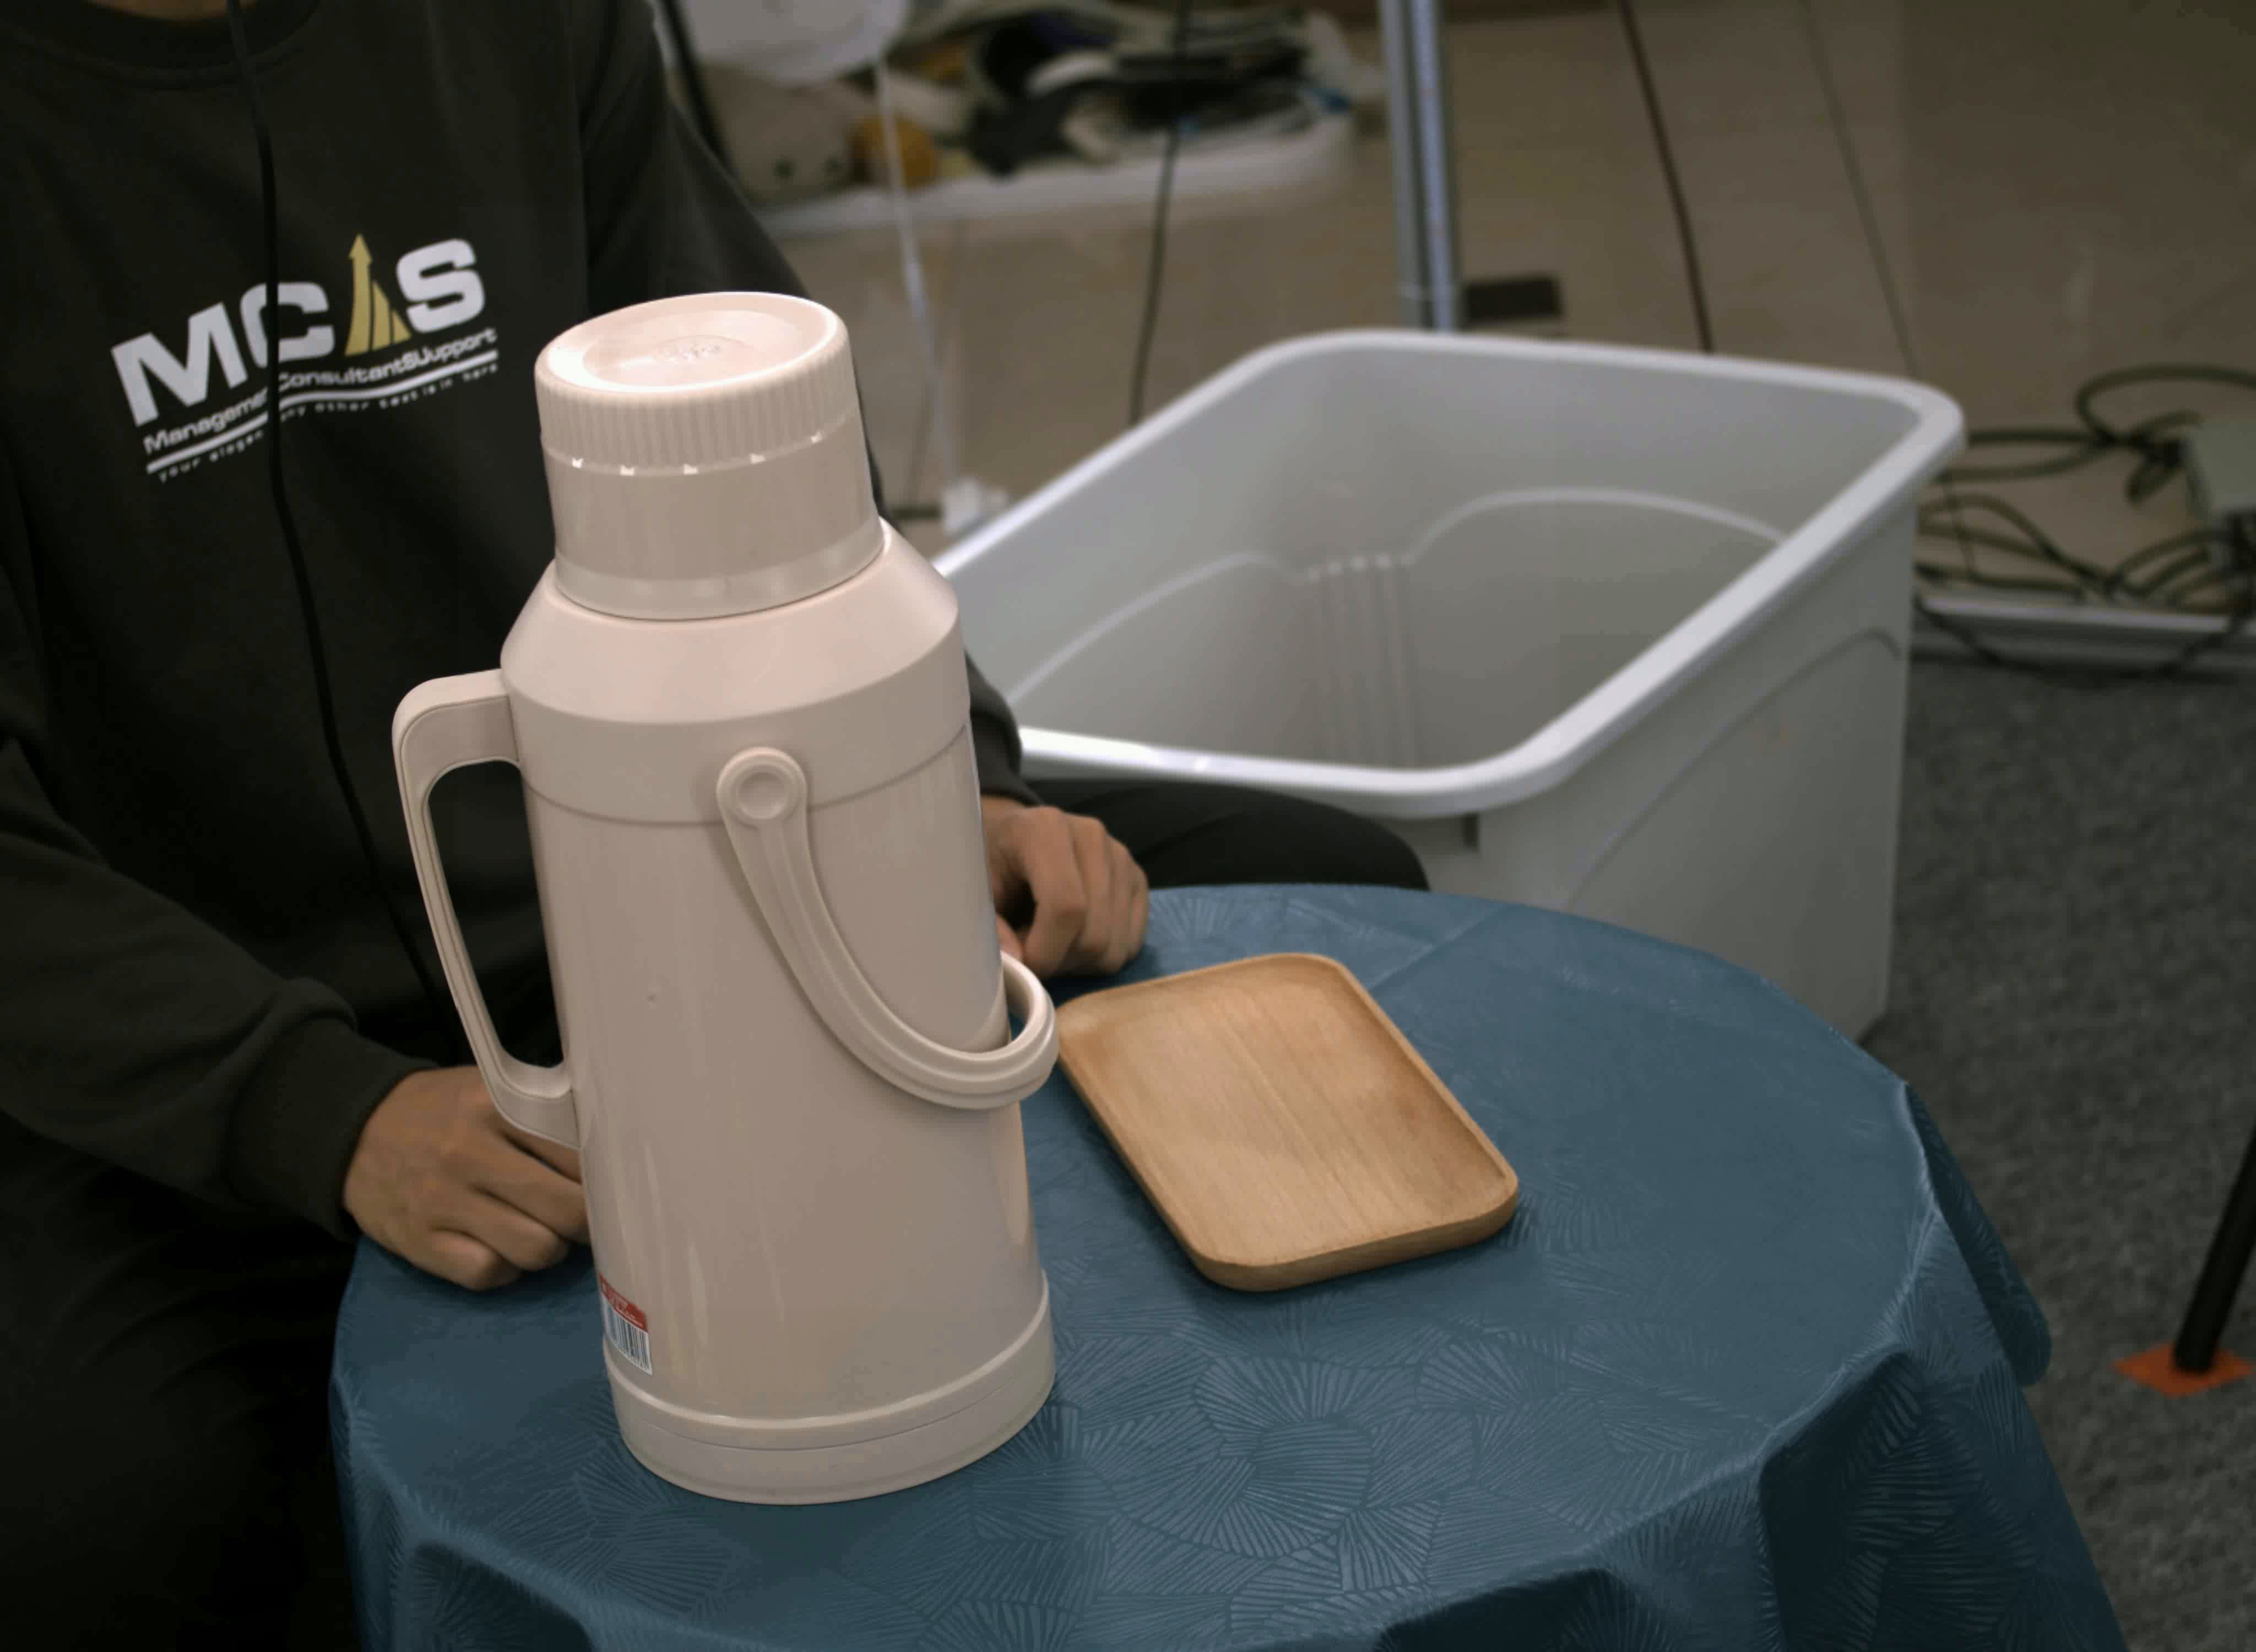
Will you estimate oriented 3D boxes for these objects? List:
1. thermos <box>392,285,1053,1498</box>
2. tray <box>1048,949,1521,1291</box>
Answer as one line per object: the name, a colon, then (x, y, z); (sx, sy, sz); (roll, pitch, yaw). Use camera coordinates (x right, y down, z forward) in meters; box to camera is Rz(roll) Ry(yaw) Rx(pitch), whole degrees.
thermos: (-0.139, 0.023, 1.950); (0.206, 0.413, 0.173); (-9, 27, -6)
tray: (0.057, 0.110, 2.176); (0.130, 0.023, 0.247); (-10, 24, -13)
